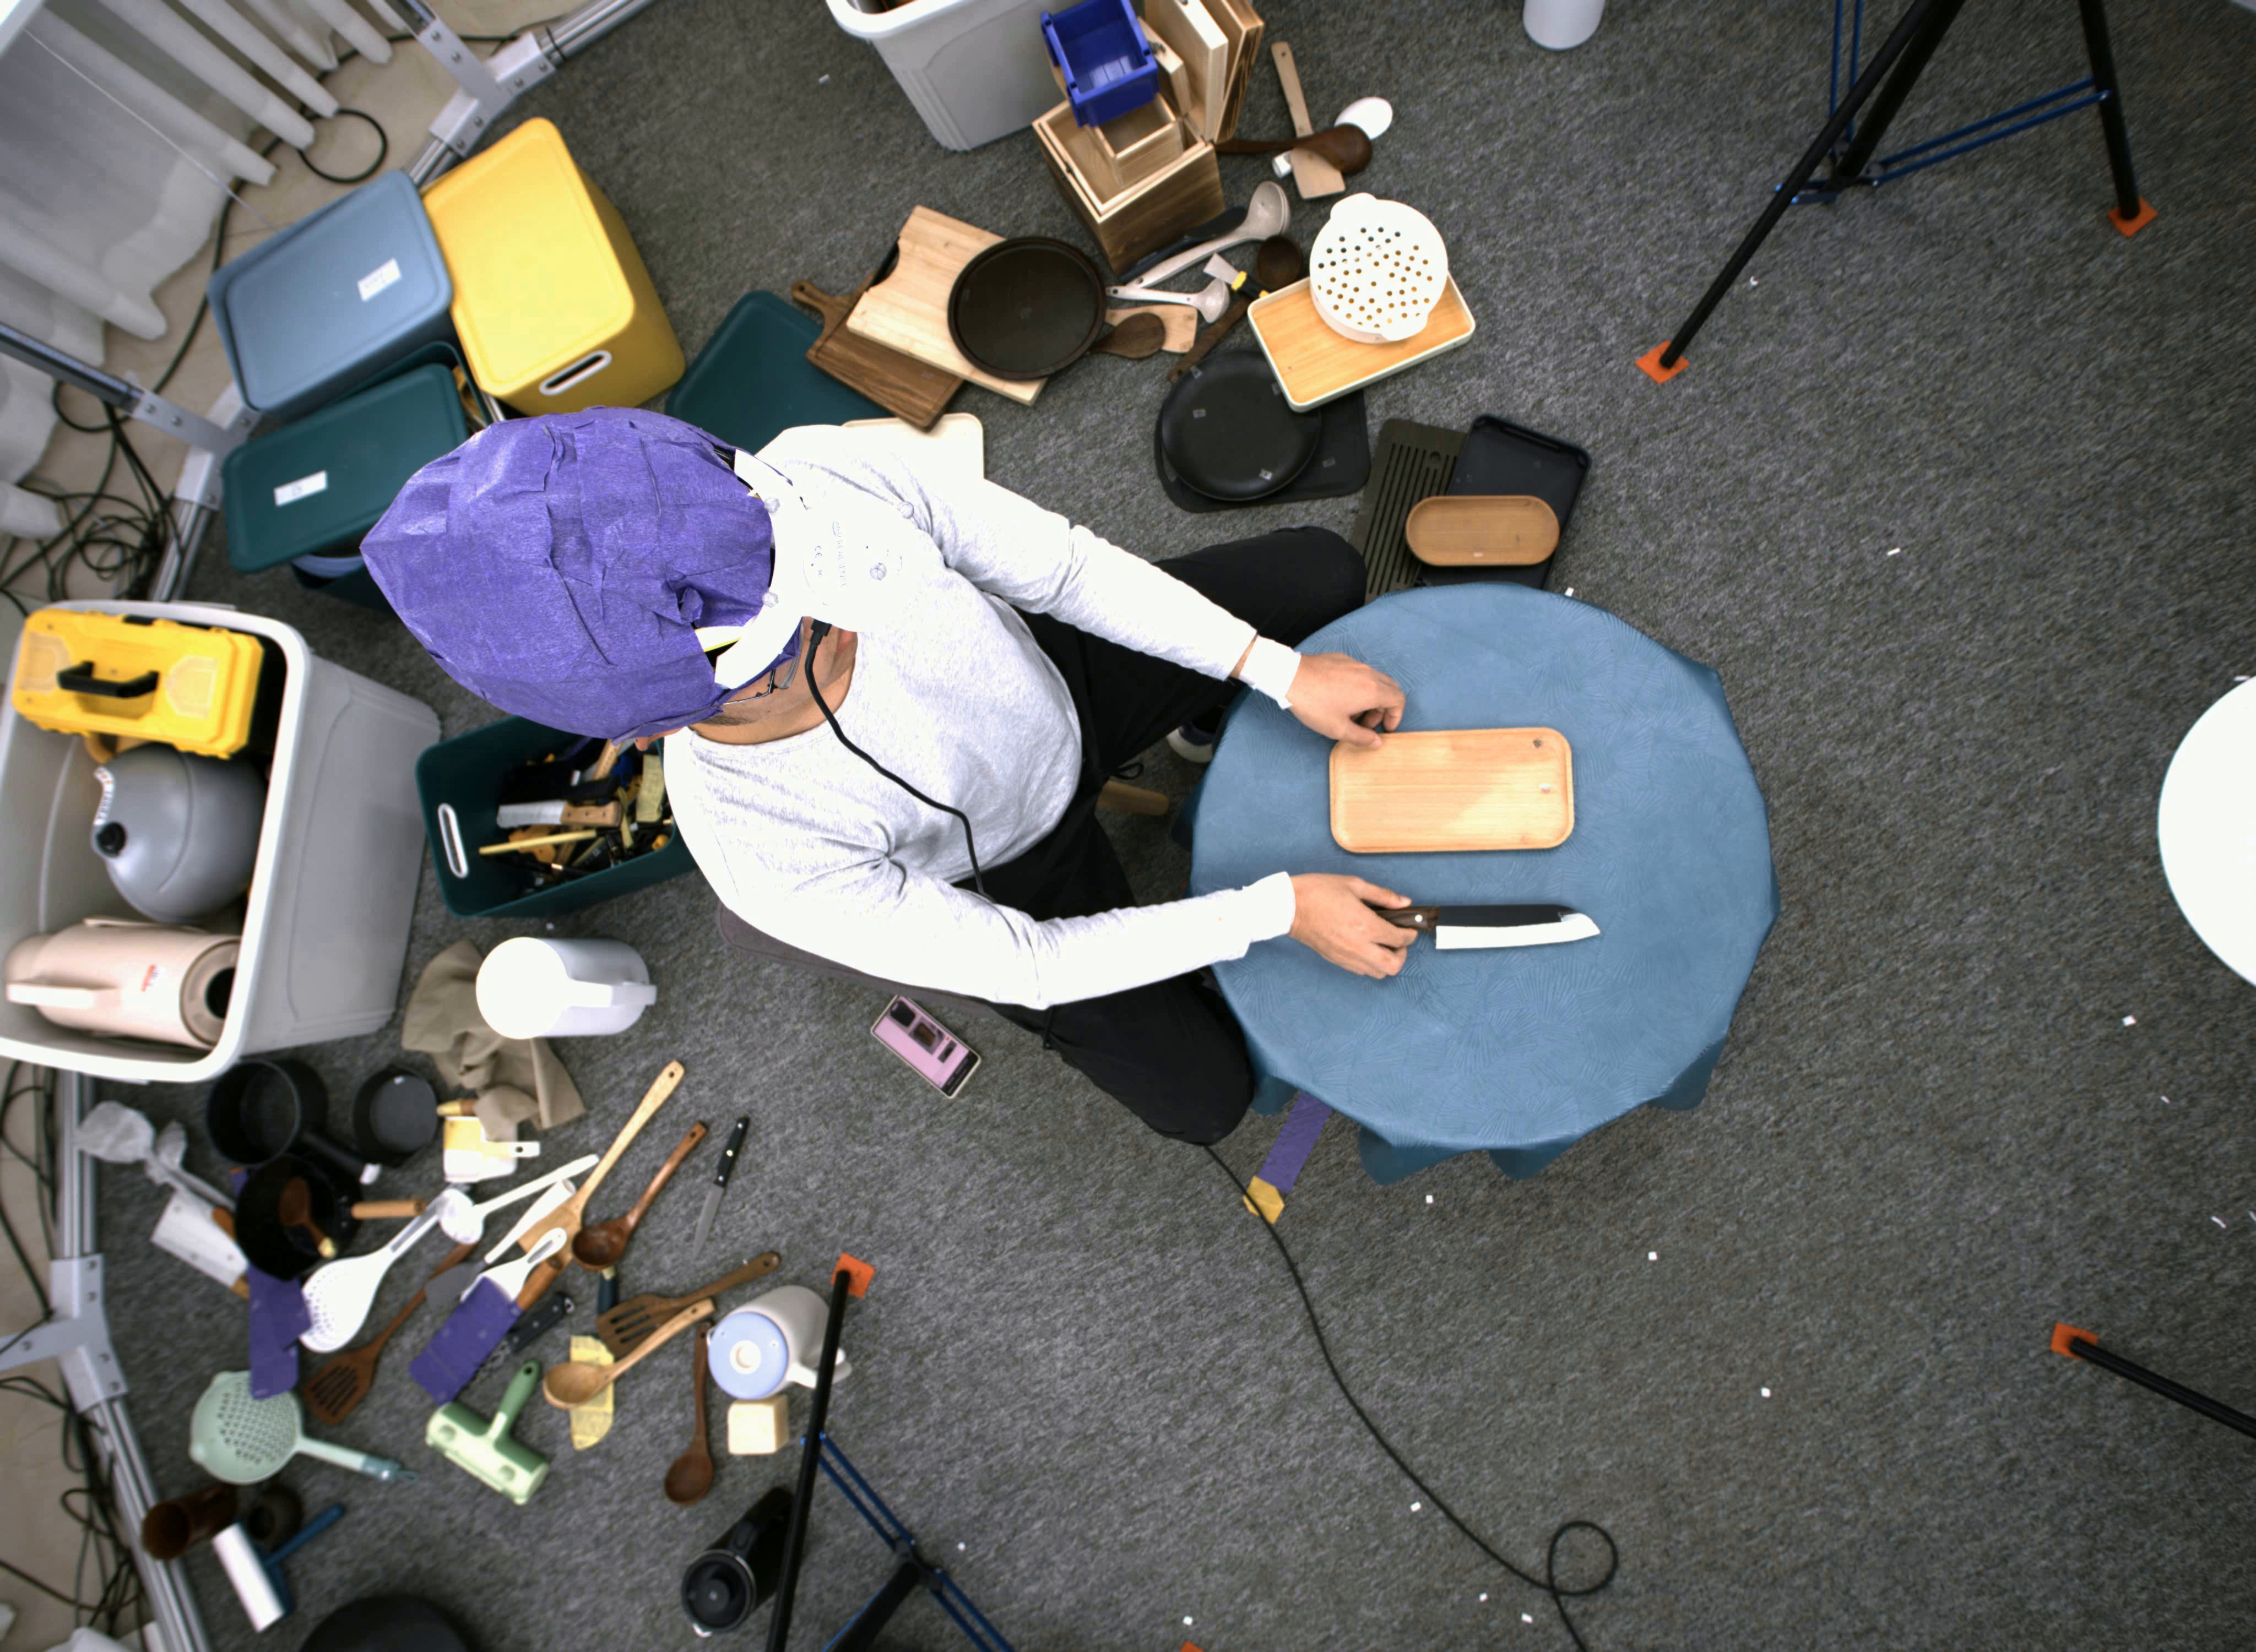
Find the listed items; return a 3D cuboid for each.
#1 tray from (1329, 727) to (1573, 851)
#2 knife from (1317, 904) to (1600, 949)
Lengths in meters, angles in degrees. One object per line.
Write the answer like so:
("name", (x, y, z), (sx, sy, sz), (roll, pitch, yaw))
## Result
("tray", (0.338, -0.040, 1.446), (0.252, 0.023, 0.130), (0, 85, 11))
("knife", (0.340, 0.101, 1.424), (0.290, 0.020, 0.050), (1, 96, 7))
